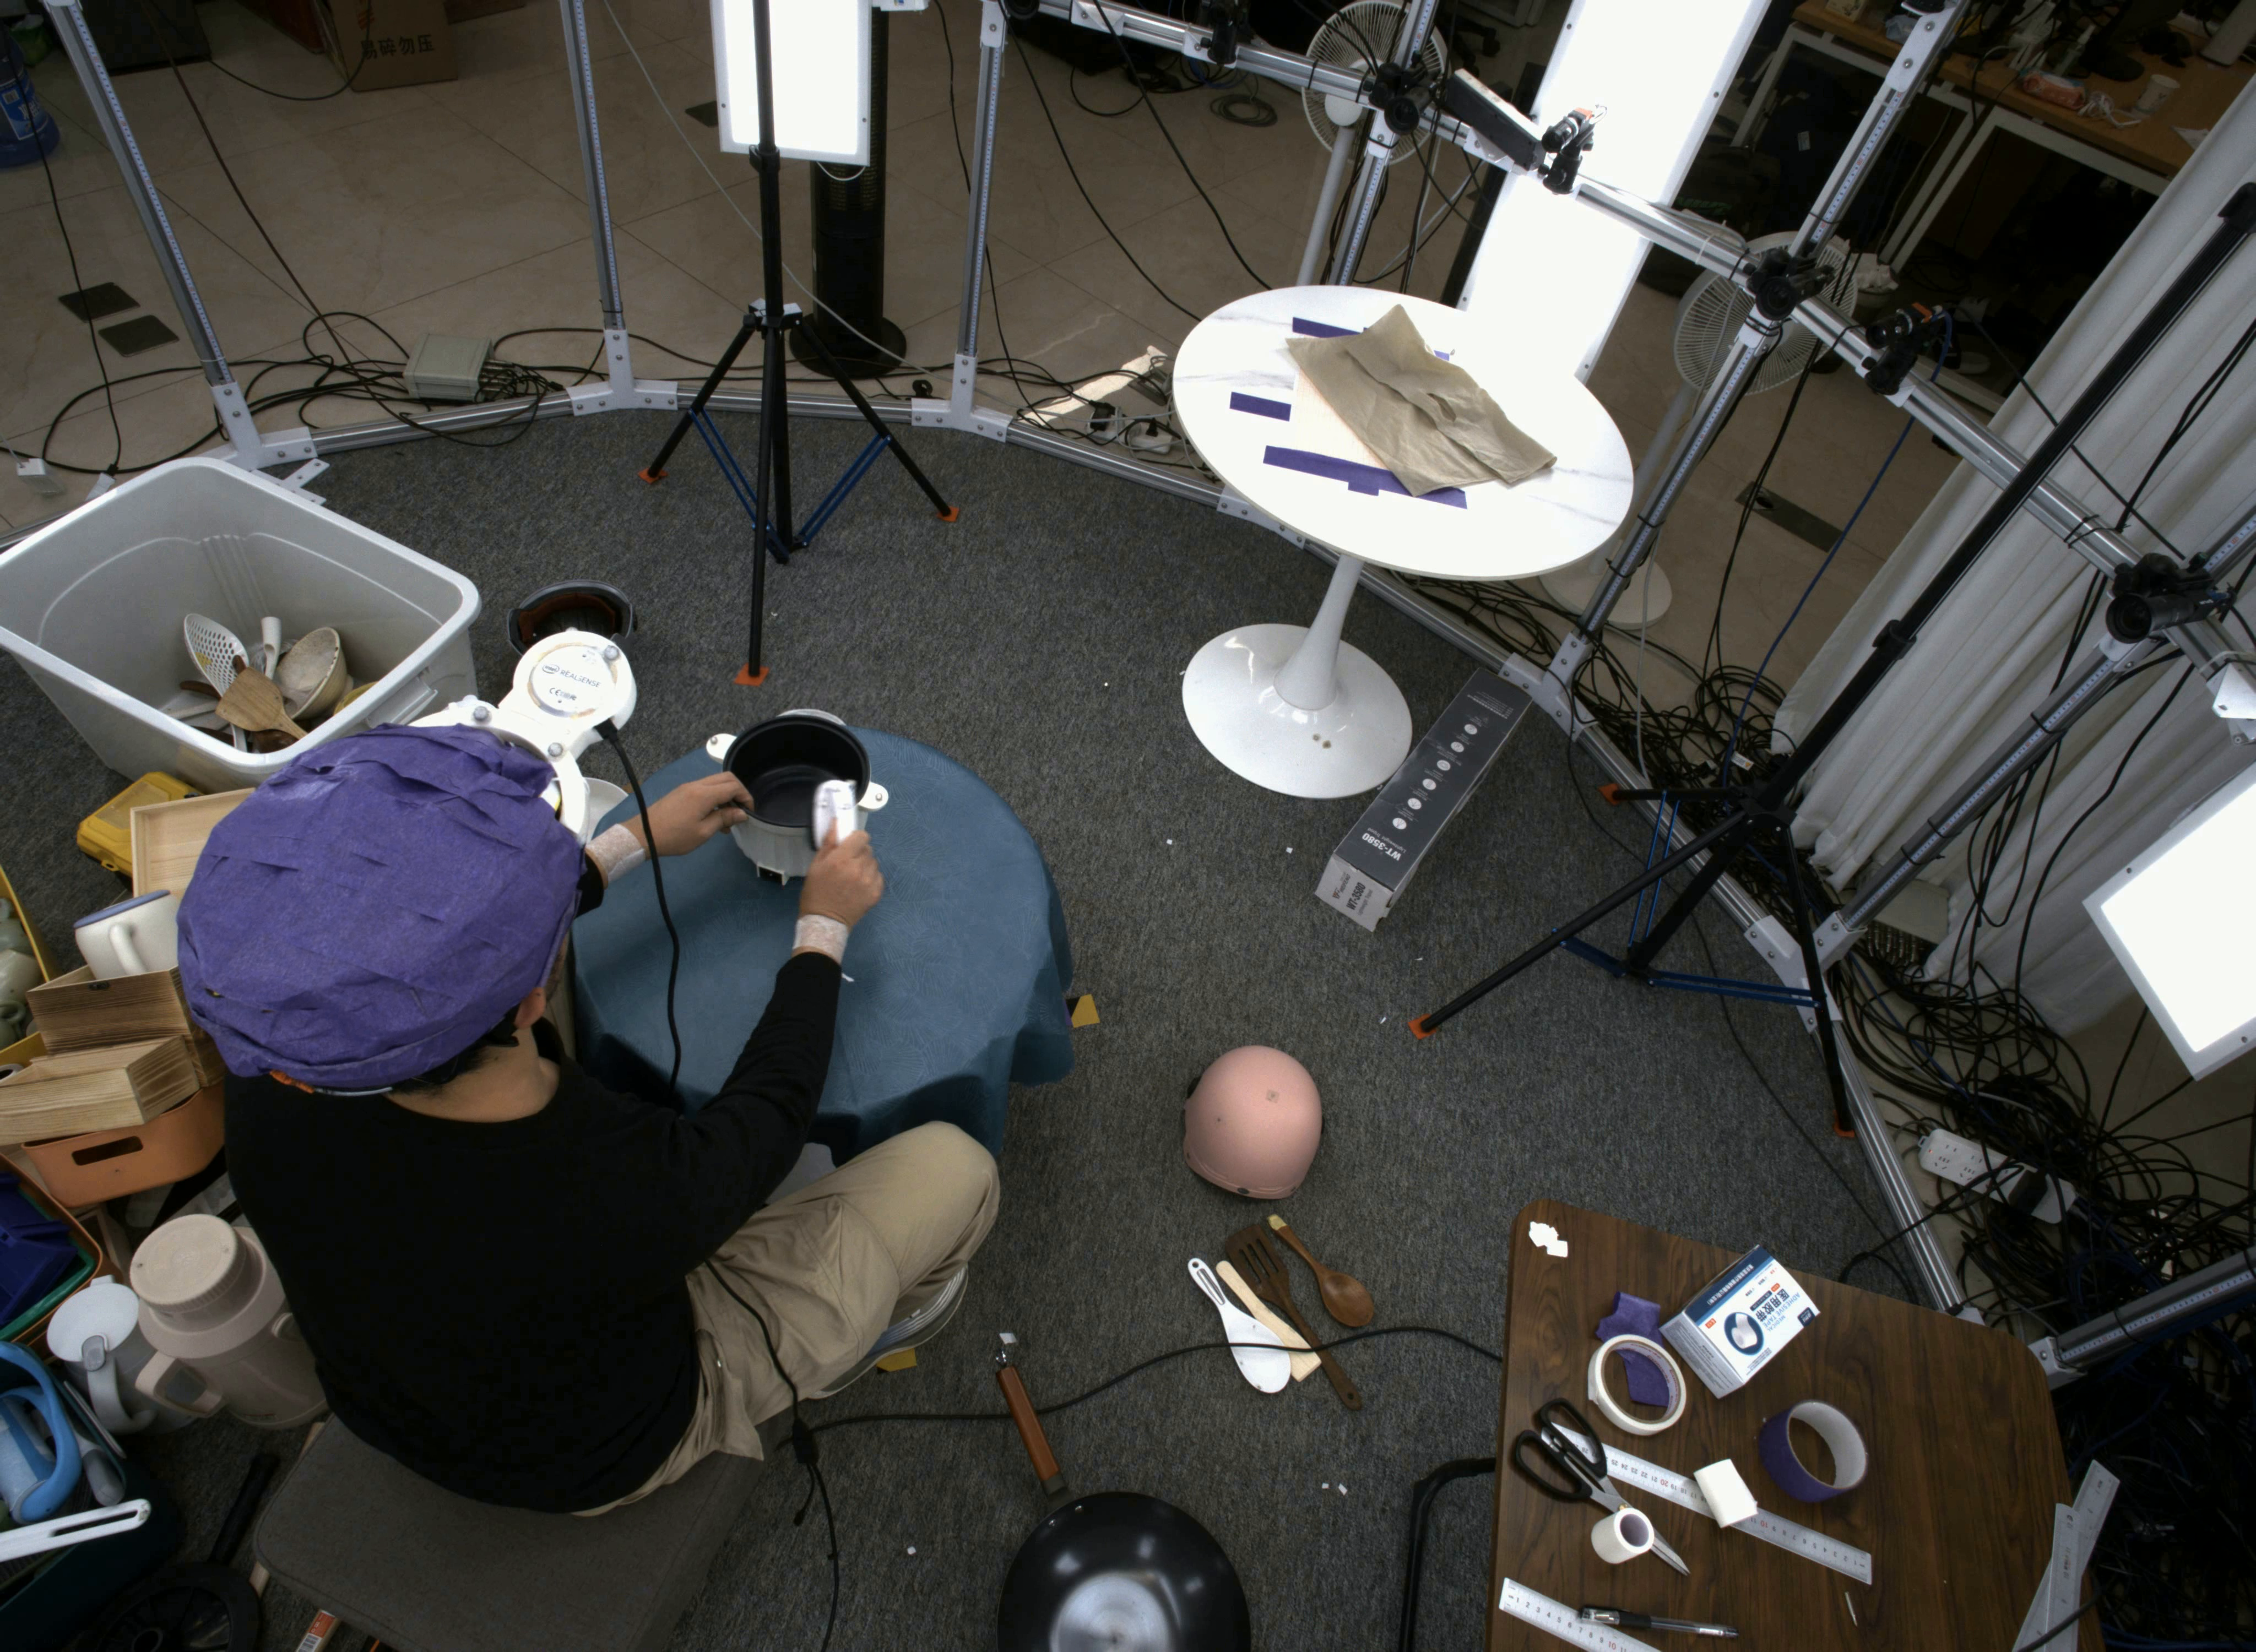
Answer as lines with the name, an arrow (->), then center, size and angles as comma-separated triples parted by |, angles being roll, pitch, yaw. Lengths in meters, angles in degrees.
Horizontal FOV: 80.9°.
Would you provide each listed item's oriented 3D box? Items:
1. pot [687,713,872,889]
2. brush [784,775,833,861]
pot -> -0.440, -0.035, 1.652 | 0.239, 0.145, 0.188 | 18, 54, -2
brush -> -0.372, -0.008, 1.535 | 0.051, 0.101, 0.070 | -5, 11, -32
